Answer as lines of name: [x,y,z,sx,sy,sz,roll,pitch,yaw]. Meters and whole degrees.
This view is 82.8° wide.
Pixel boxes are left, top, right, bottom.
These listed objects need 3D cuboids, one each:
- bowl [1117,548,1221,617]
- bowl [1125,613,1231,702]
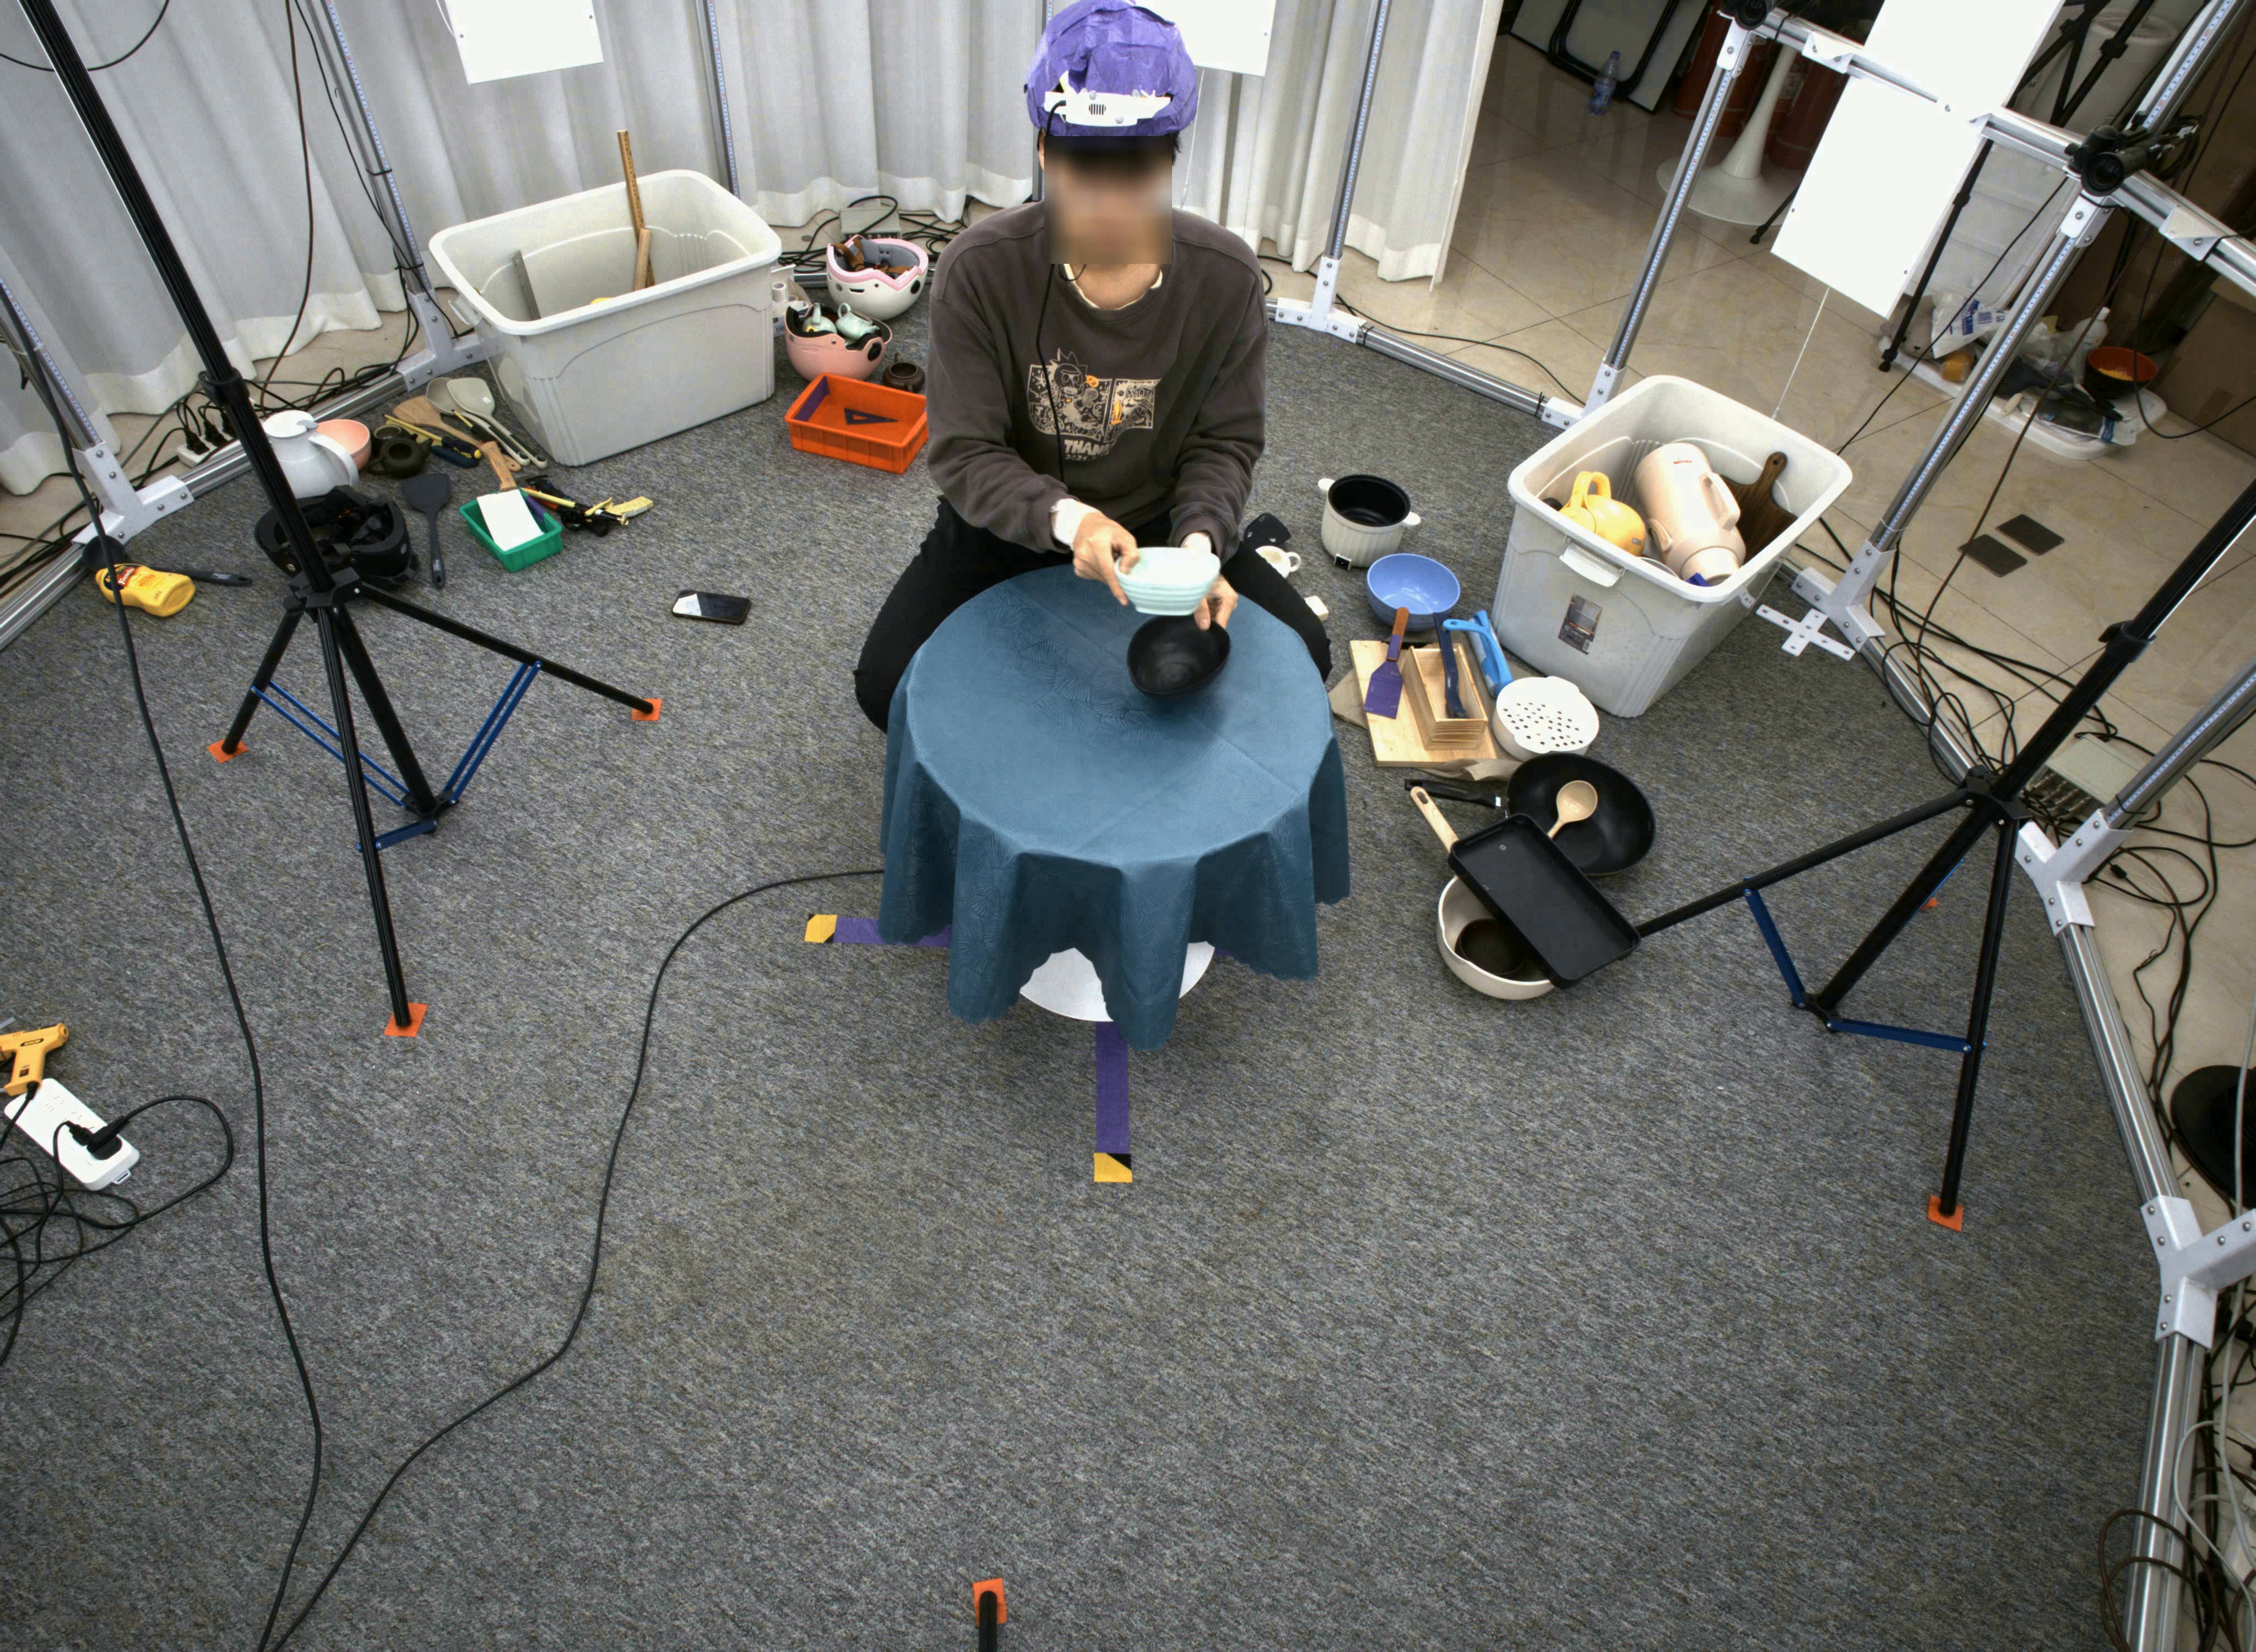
bowl: [0.054,-0.324,1.730,0.151,0.057,0.154,2,29,-2]
bowl: [0.069,-0.226,1.803,0.138,0.065,0.173,24,53,21]
